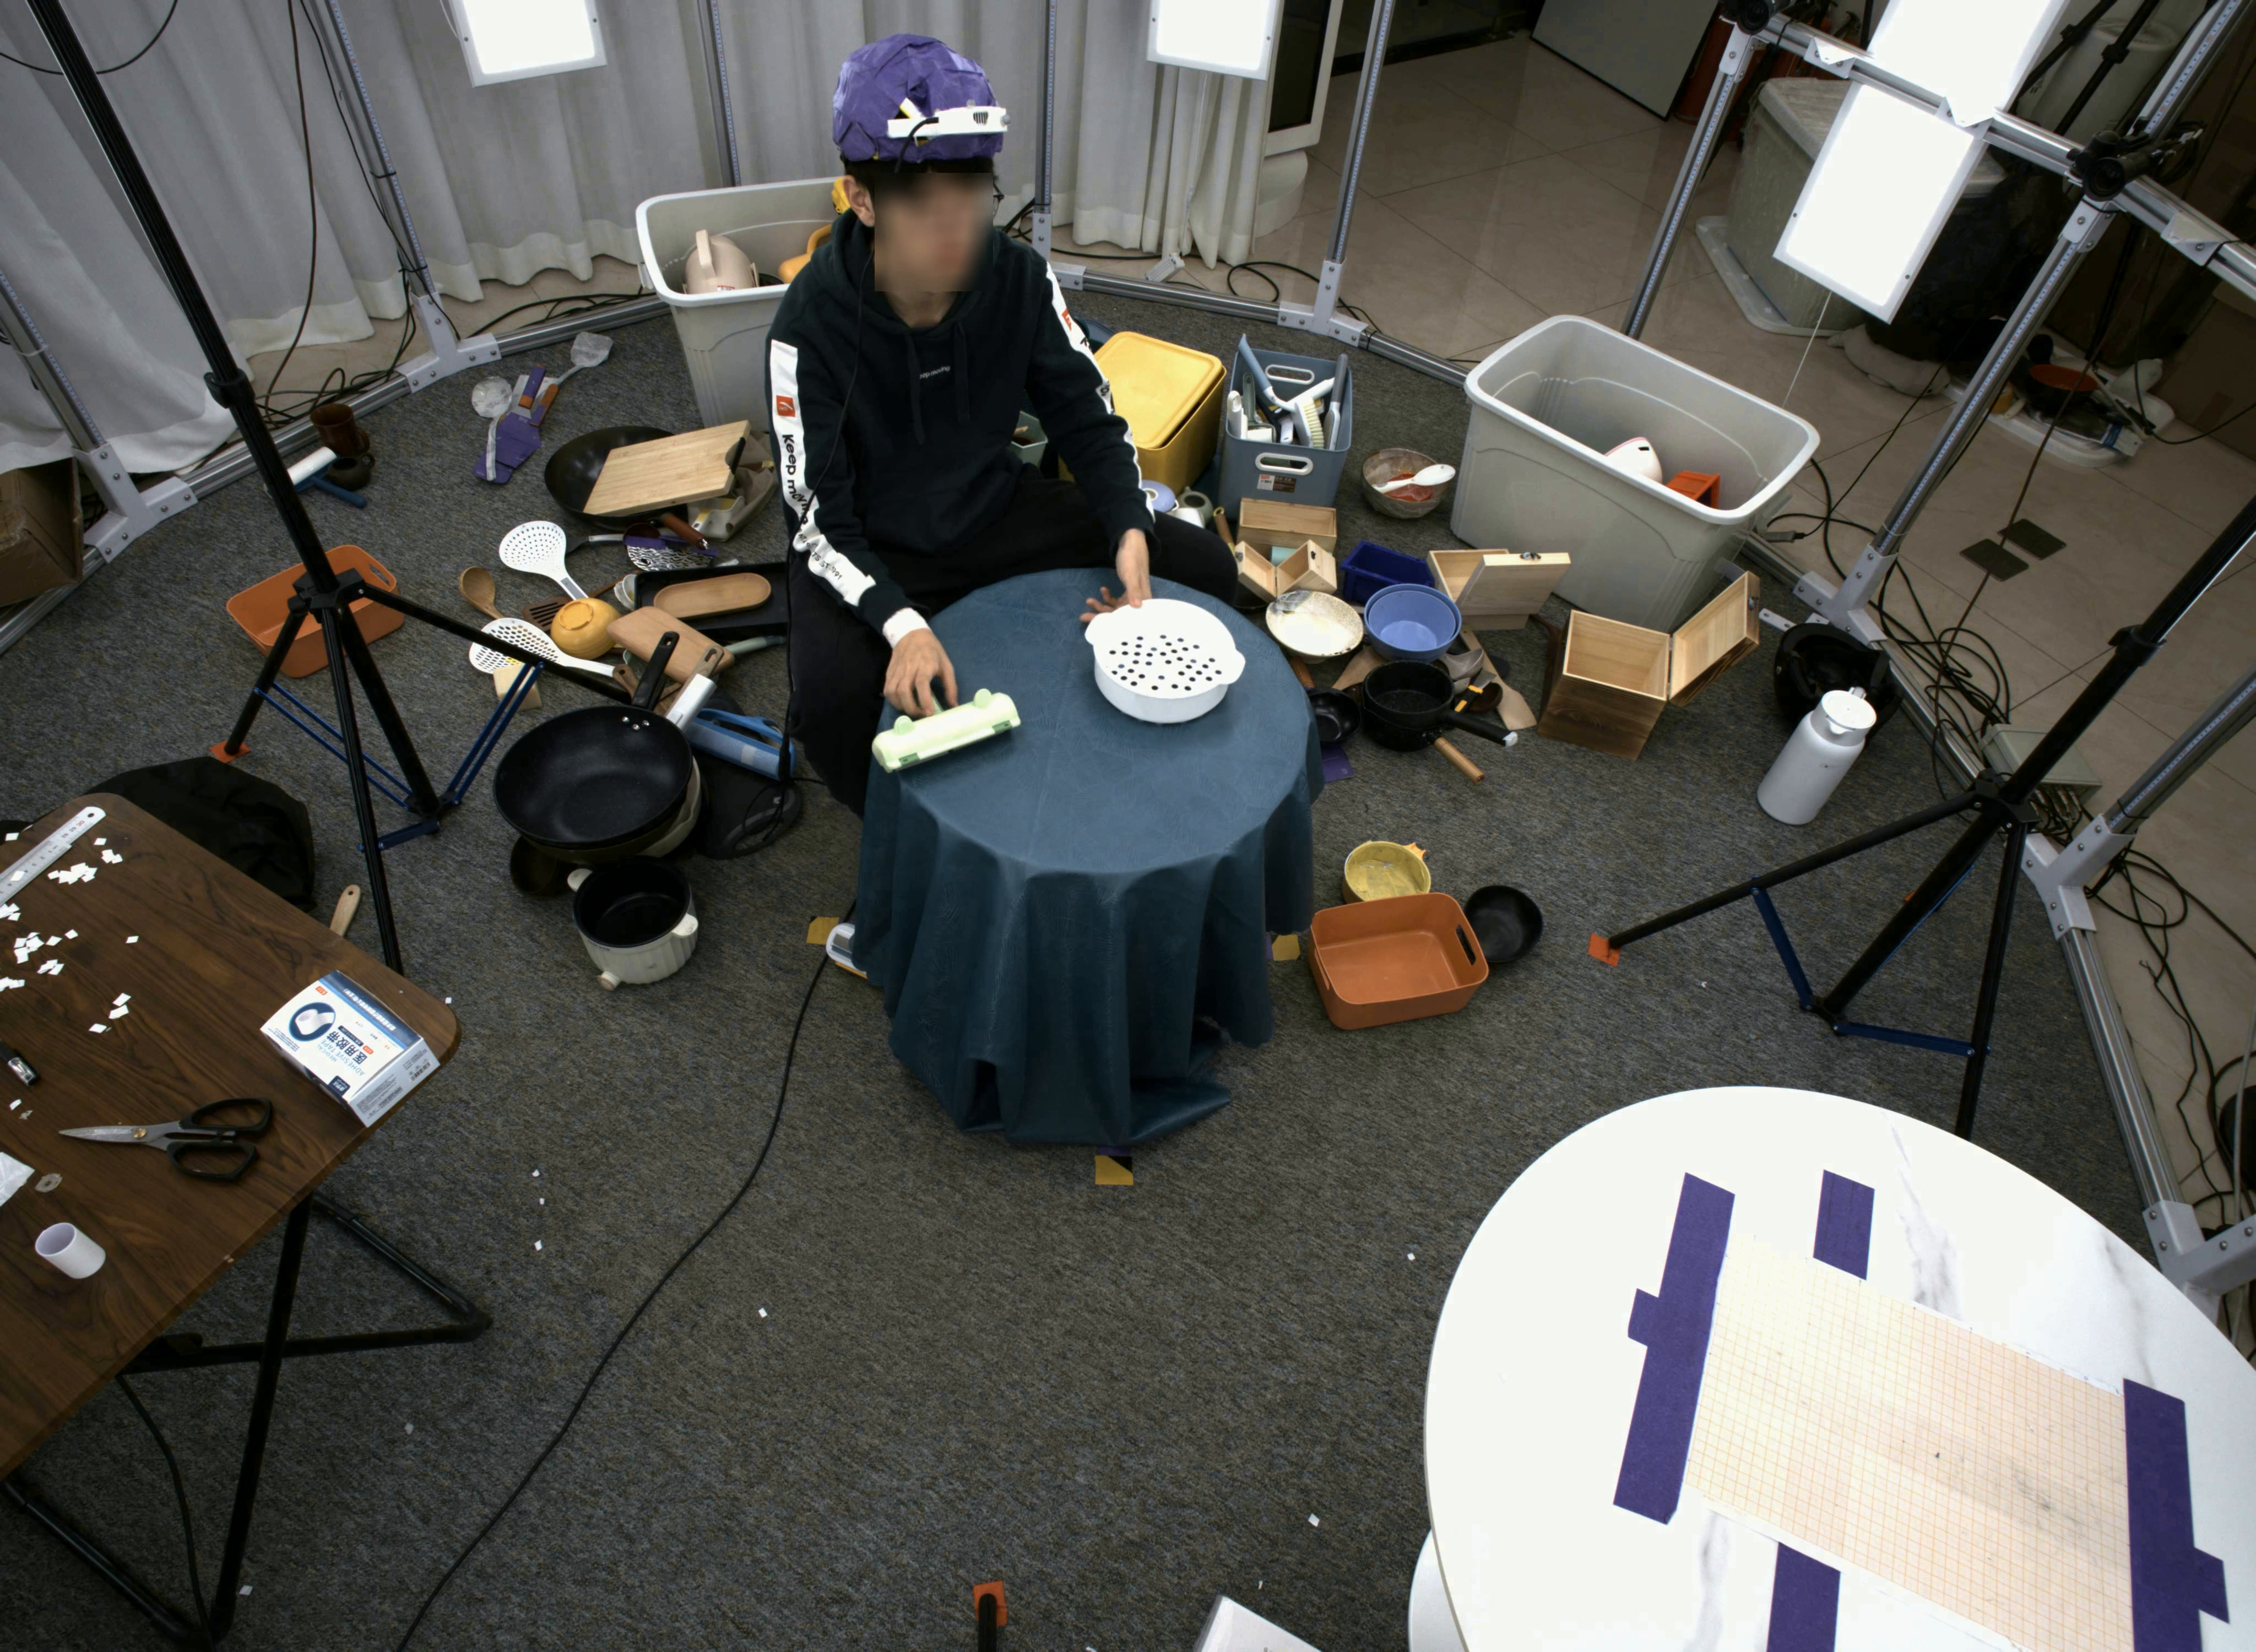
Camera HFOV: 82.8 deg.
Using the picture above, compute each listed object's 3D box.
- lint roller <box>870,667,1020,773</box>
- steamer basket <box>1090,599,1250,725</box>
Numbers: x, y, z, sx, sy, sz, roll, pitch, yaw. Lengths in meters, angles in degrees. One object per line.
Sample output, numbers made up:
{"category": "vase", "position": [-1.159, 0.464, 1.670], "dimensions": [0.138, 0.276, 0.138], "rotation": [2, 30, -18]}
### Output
{"category": "lint roller", "position": [-0.271, -0.171, 1.749], "dimensions": [0.199, 0.080, 0.187], "rotation": [-21, 58, -21]}
{"category": "steamer basket", "position": [0.056, -0.233, 1.829], "dimensions": [0.231, 0.067, 0.206], "rotation": [19, 52, 10]}
